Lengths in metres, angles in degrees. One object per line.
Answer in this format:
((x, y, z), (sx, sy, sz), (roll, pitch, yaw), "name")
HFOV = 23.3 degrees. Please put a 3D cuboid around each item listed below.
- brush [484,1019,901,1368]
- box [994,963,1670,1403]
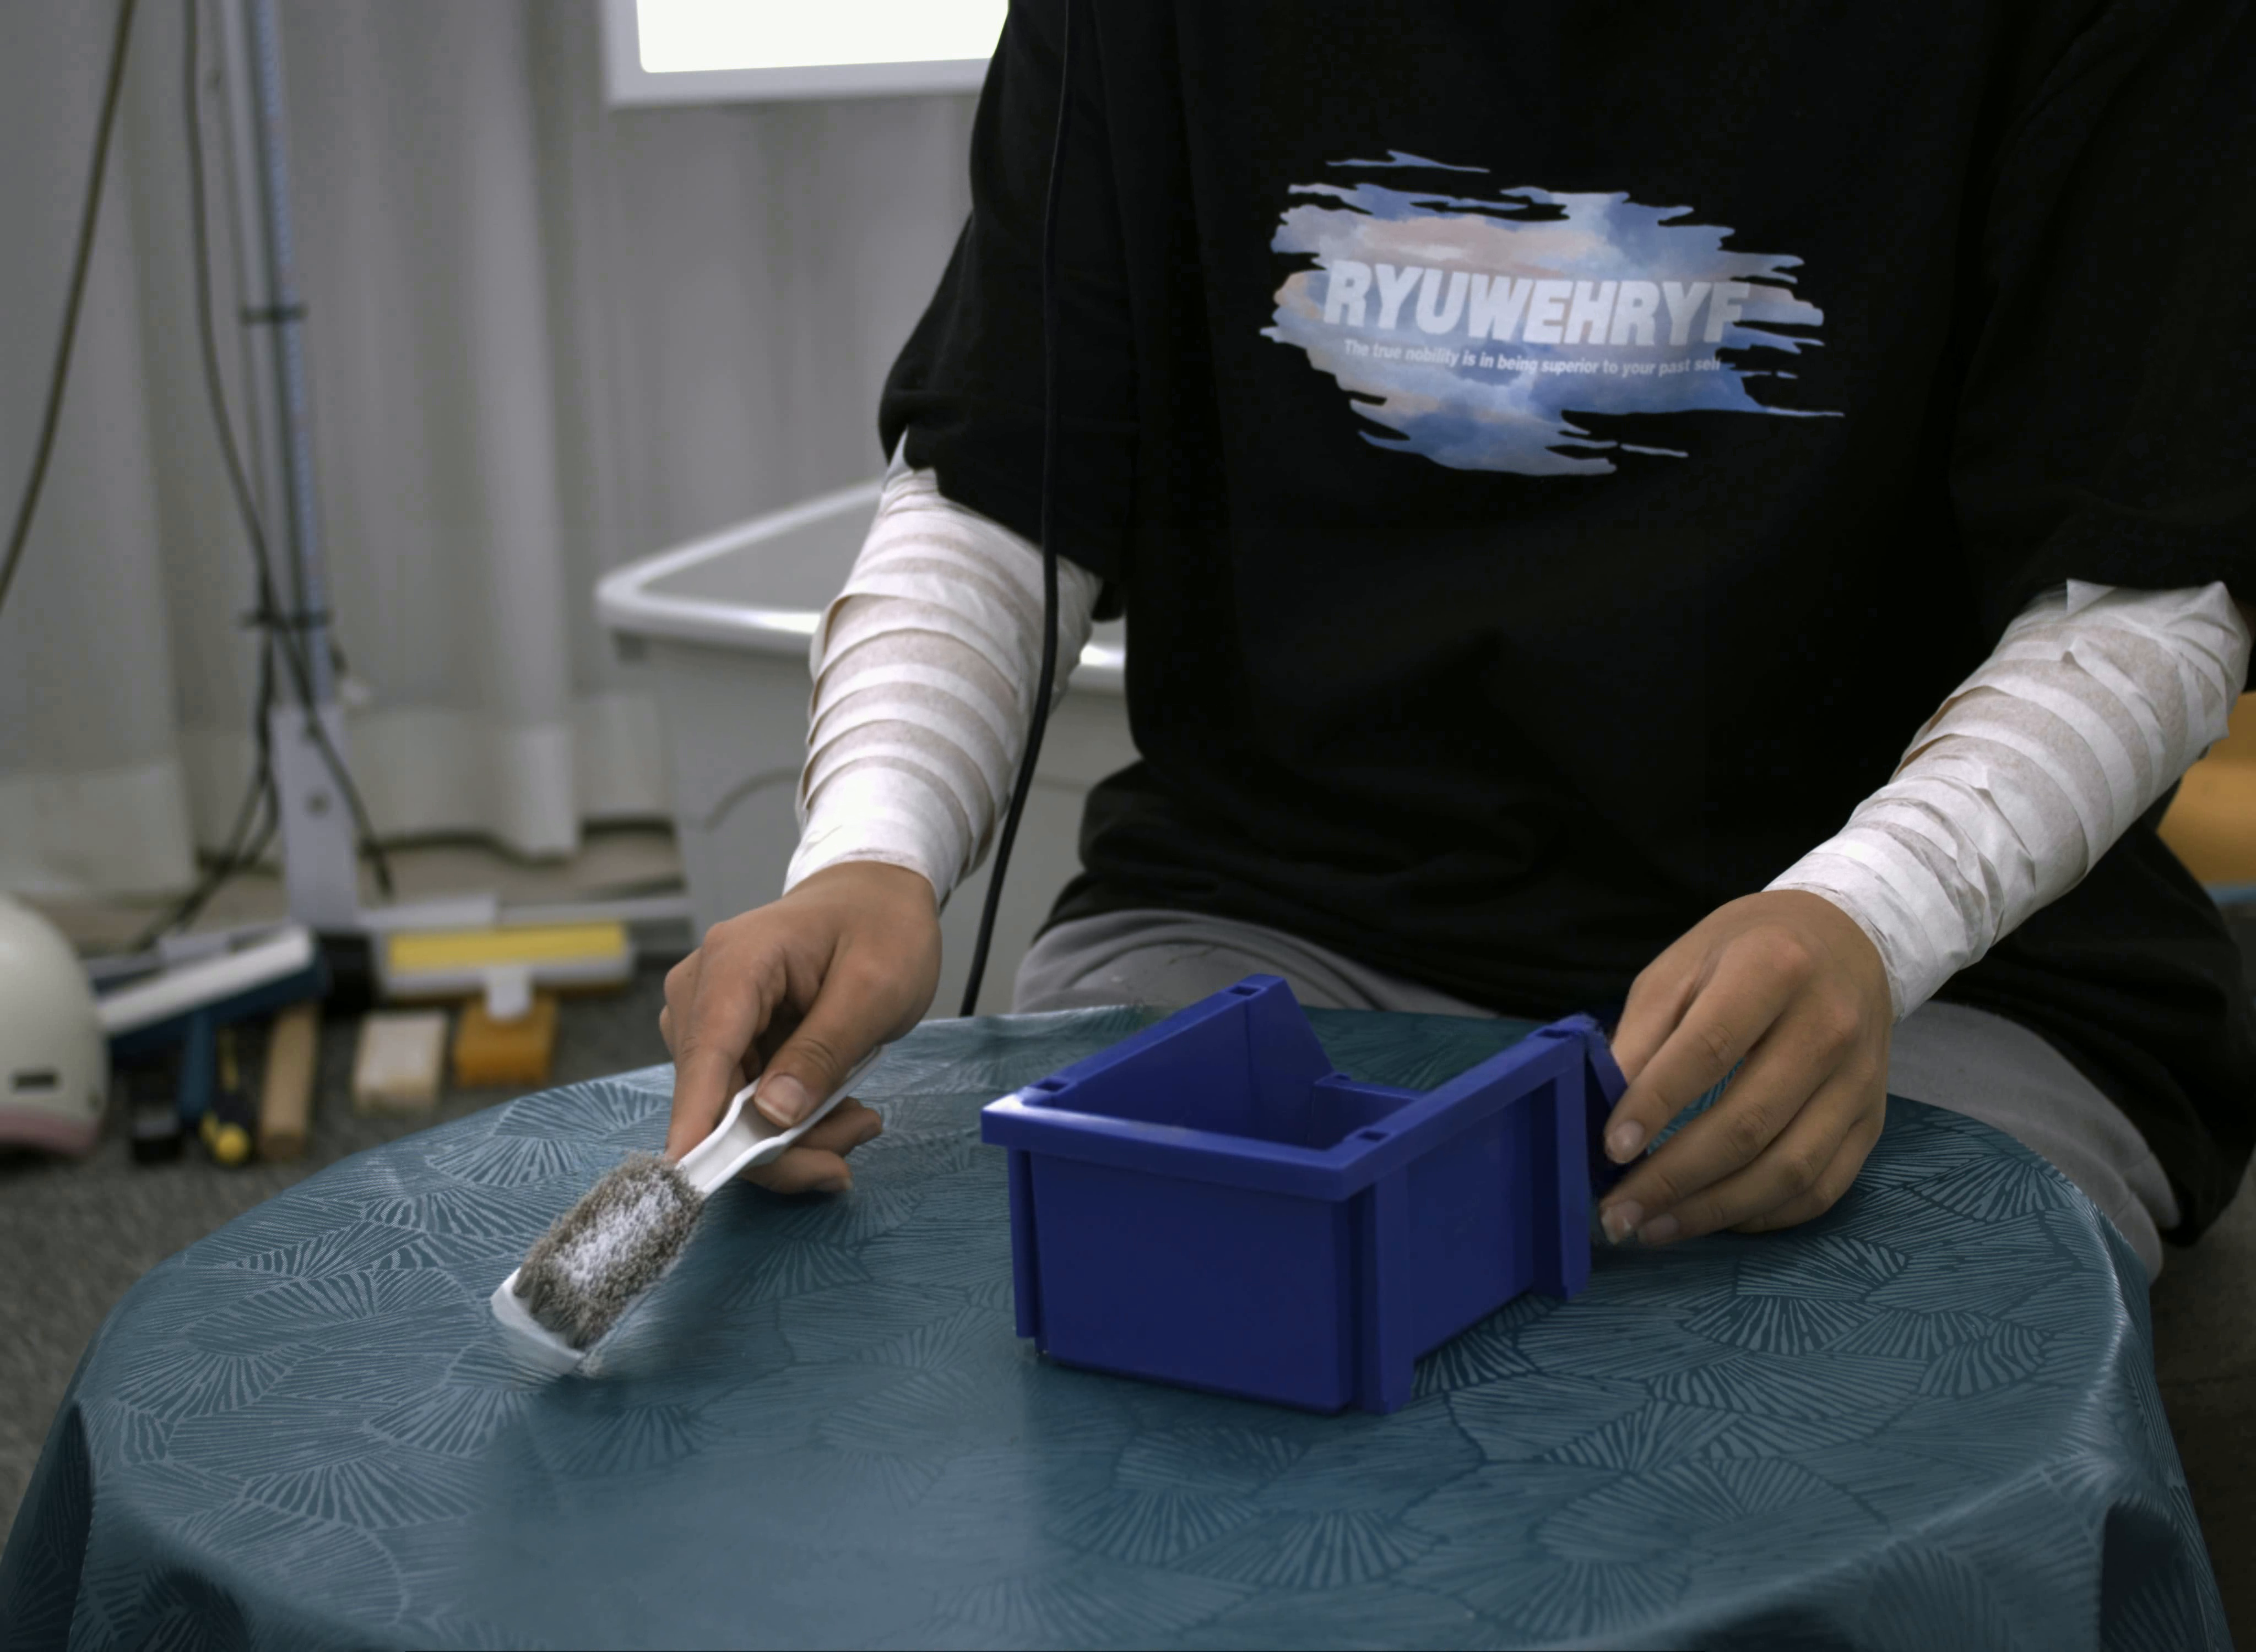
((-0.119, 0.097, 1.658), (0.034, 0.050, 0.244), (44, 32, 5), "brush")
((0.061, 0.100, 1.599), (0.125, 0.081, 0.179), (7, 18, 34), "box")
